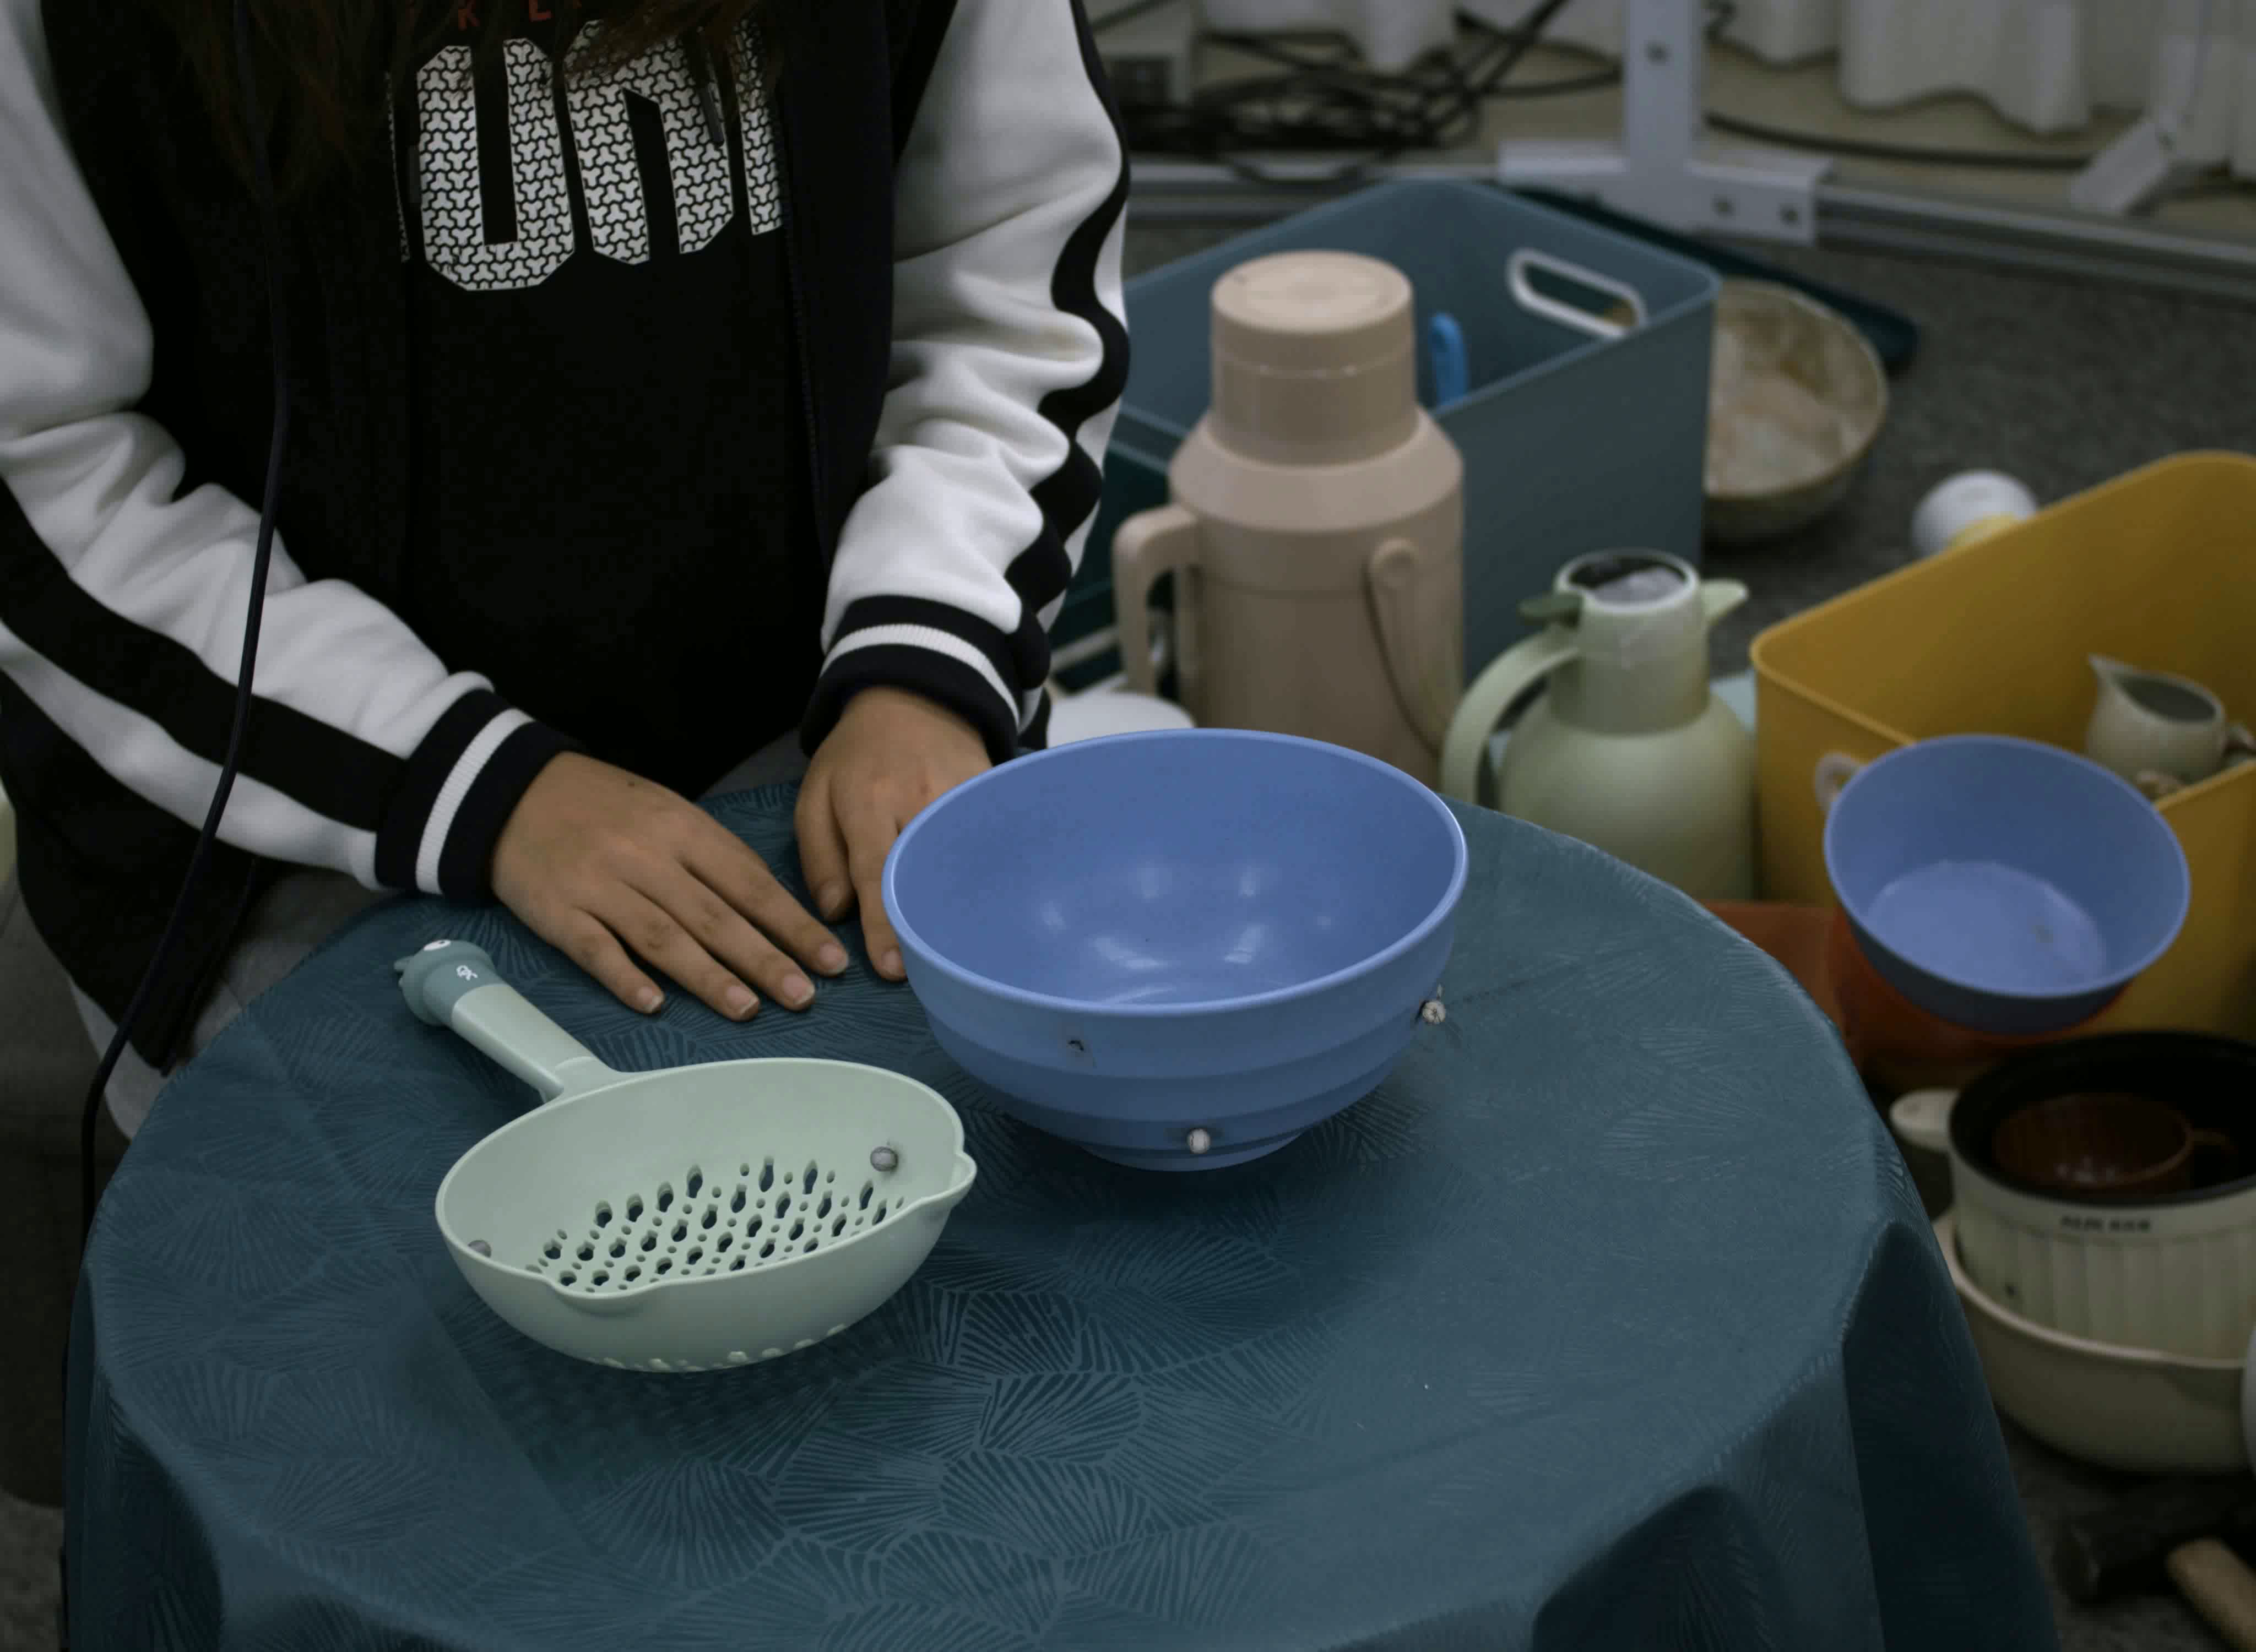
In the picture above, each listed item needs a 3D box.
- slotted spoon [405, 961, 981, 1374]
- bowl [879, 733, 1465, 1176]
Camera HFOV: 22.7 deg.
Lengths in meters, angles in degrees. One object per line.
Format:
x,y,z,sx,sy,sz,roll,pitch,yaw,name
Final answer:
-0.176,0.097,1.865,0.170,0.074,0.360,-14,28,-23,slotted spoon
0.018,0.054,1.890,0.195,0.094,0.199,-3,27,2,bowl
